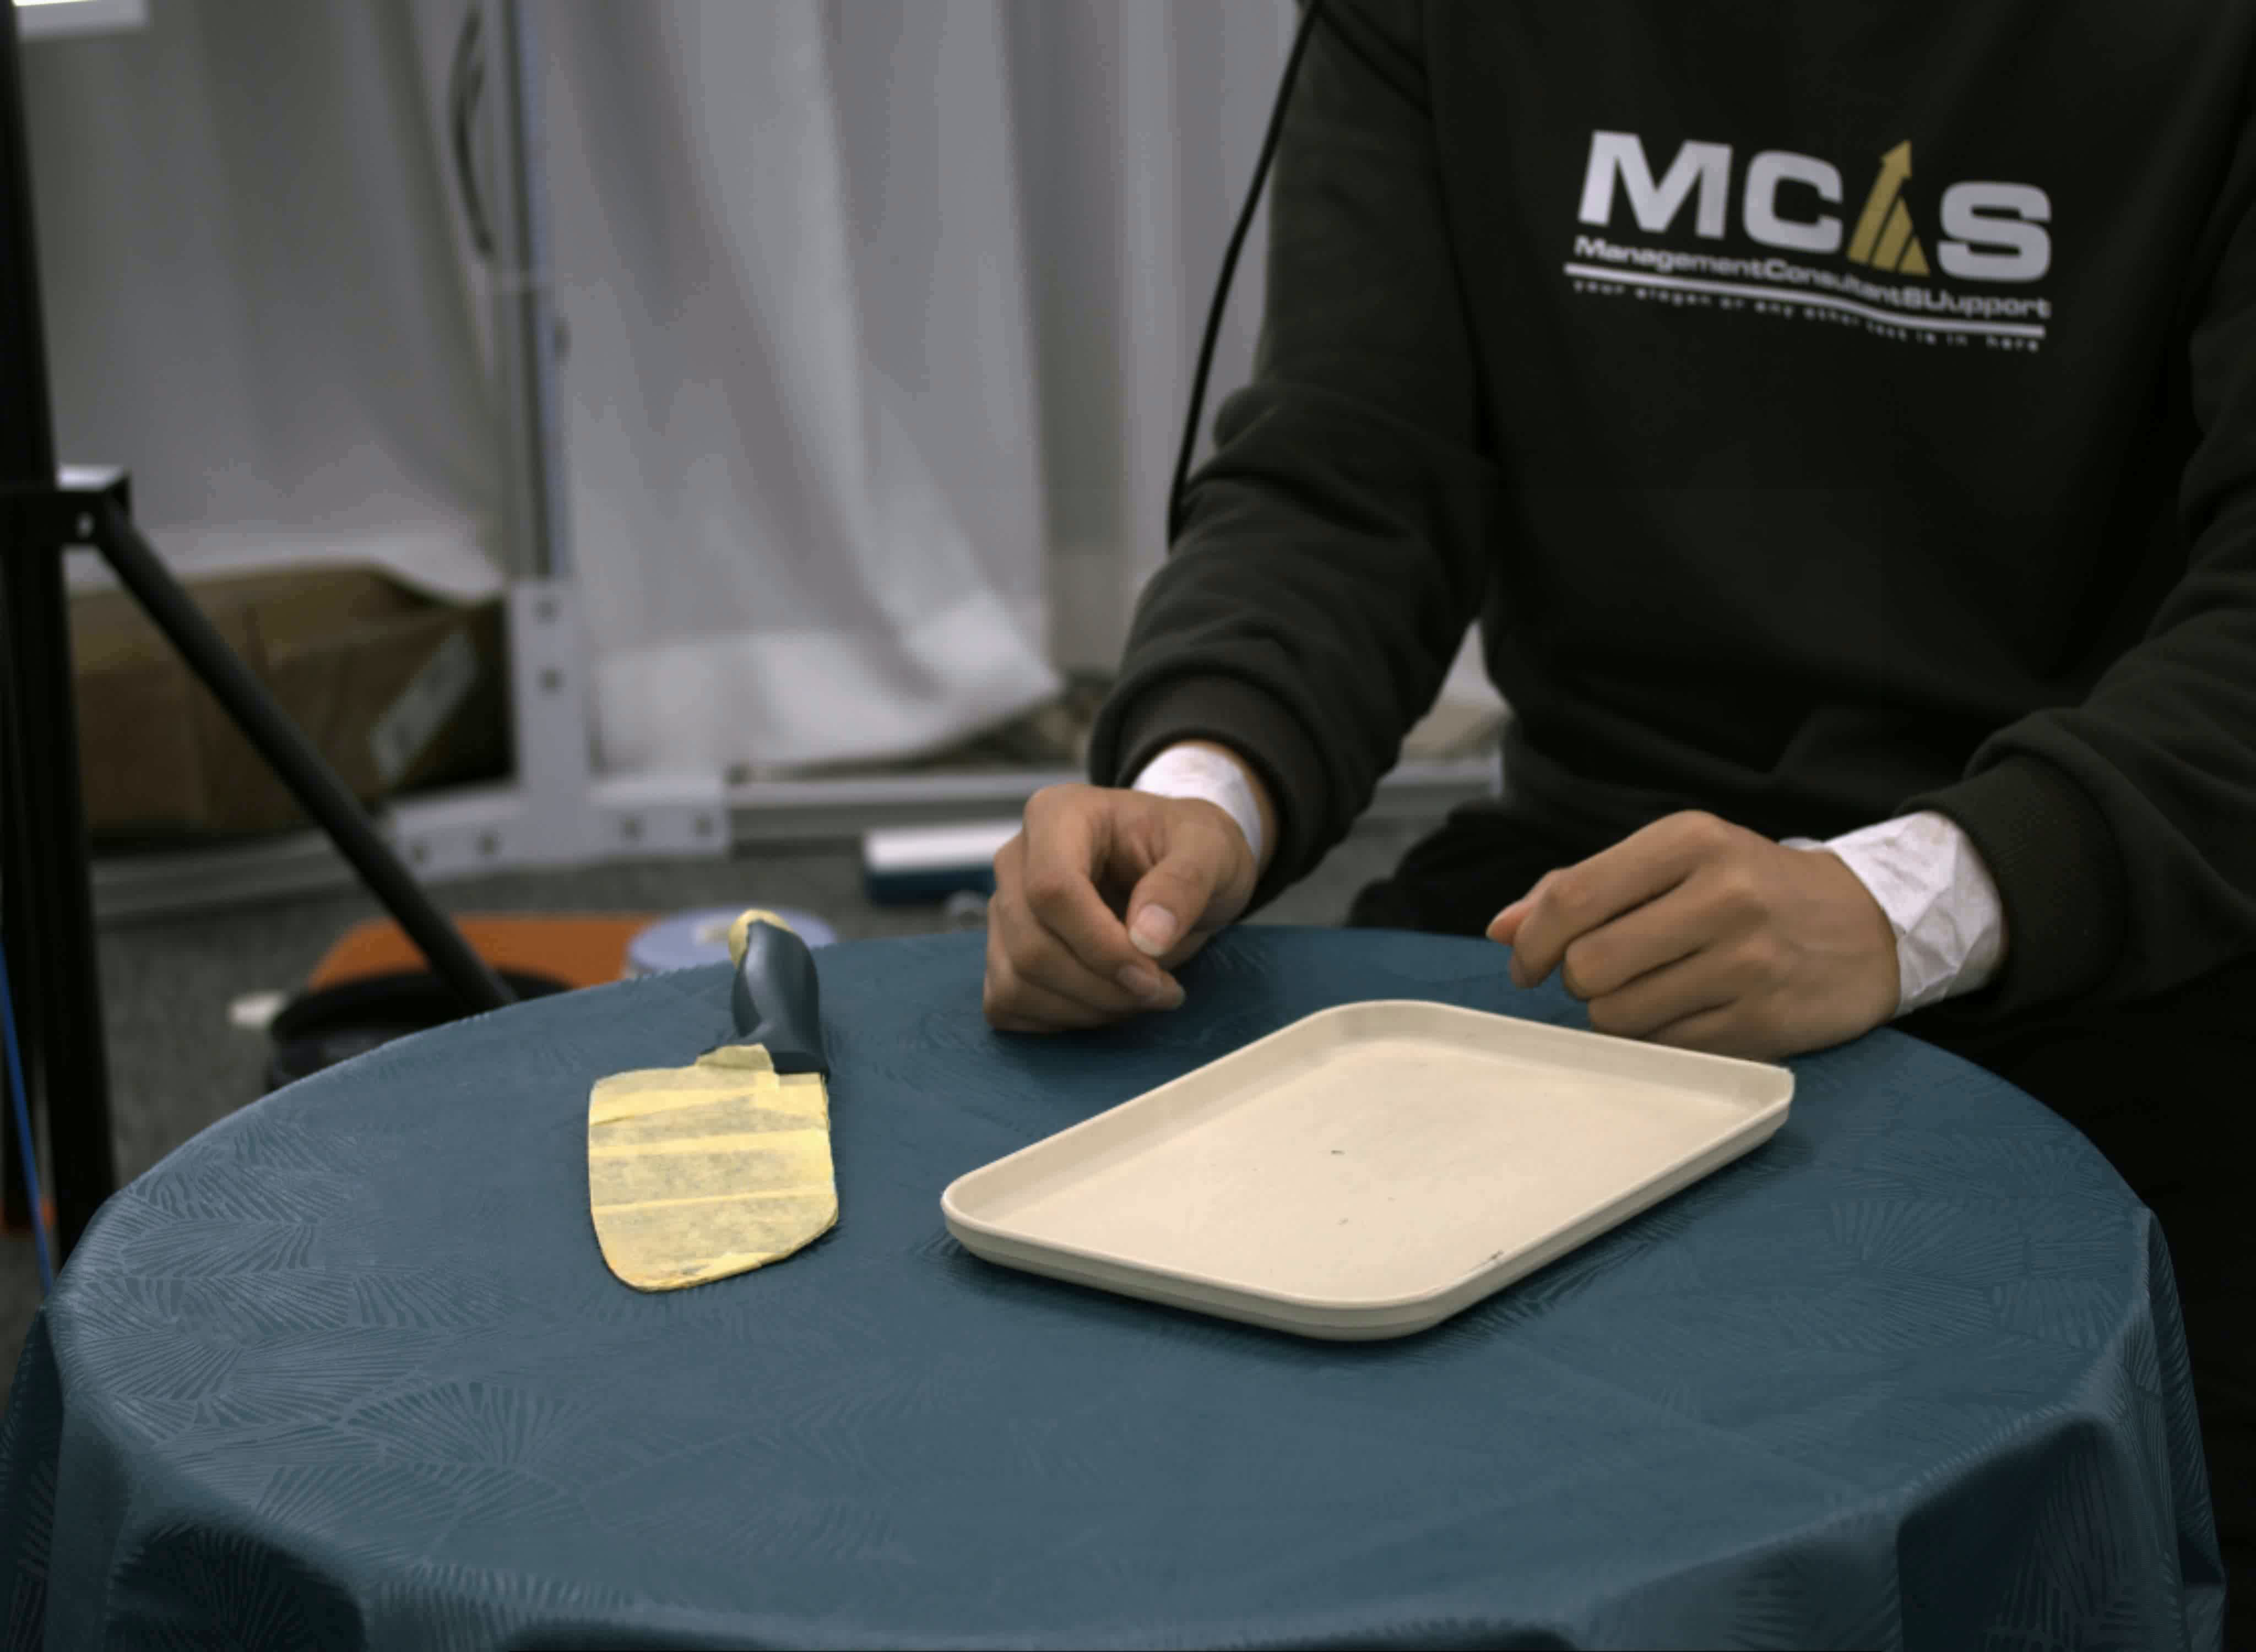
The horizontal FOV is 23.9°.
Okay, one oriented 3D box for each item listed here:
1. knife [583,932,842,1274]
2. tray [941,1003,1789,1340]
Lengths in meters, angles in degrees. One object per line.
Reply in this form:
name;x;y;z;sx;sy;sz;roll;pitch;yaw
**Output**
knife;-0.127;0.085;1.637;0.080;0.027;0.291;-1;17;-2
tray;0.072;0.099;1.549;0.175;0.017;0.234;9;19;37
